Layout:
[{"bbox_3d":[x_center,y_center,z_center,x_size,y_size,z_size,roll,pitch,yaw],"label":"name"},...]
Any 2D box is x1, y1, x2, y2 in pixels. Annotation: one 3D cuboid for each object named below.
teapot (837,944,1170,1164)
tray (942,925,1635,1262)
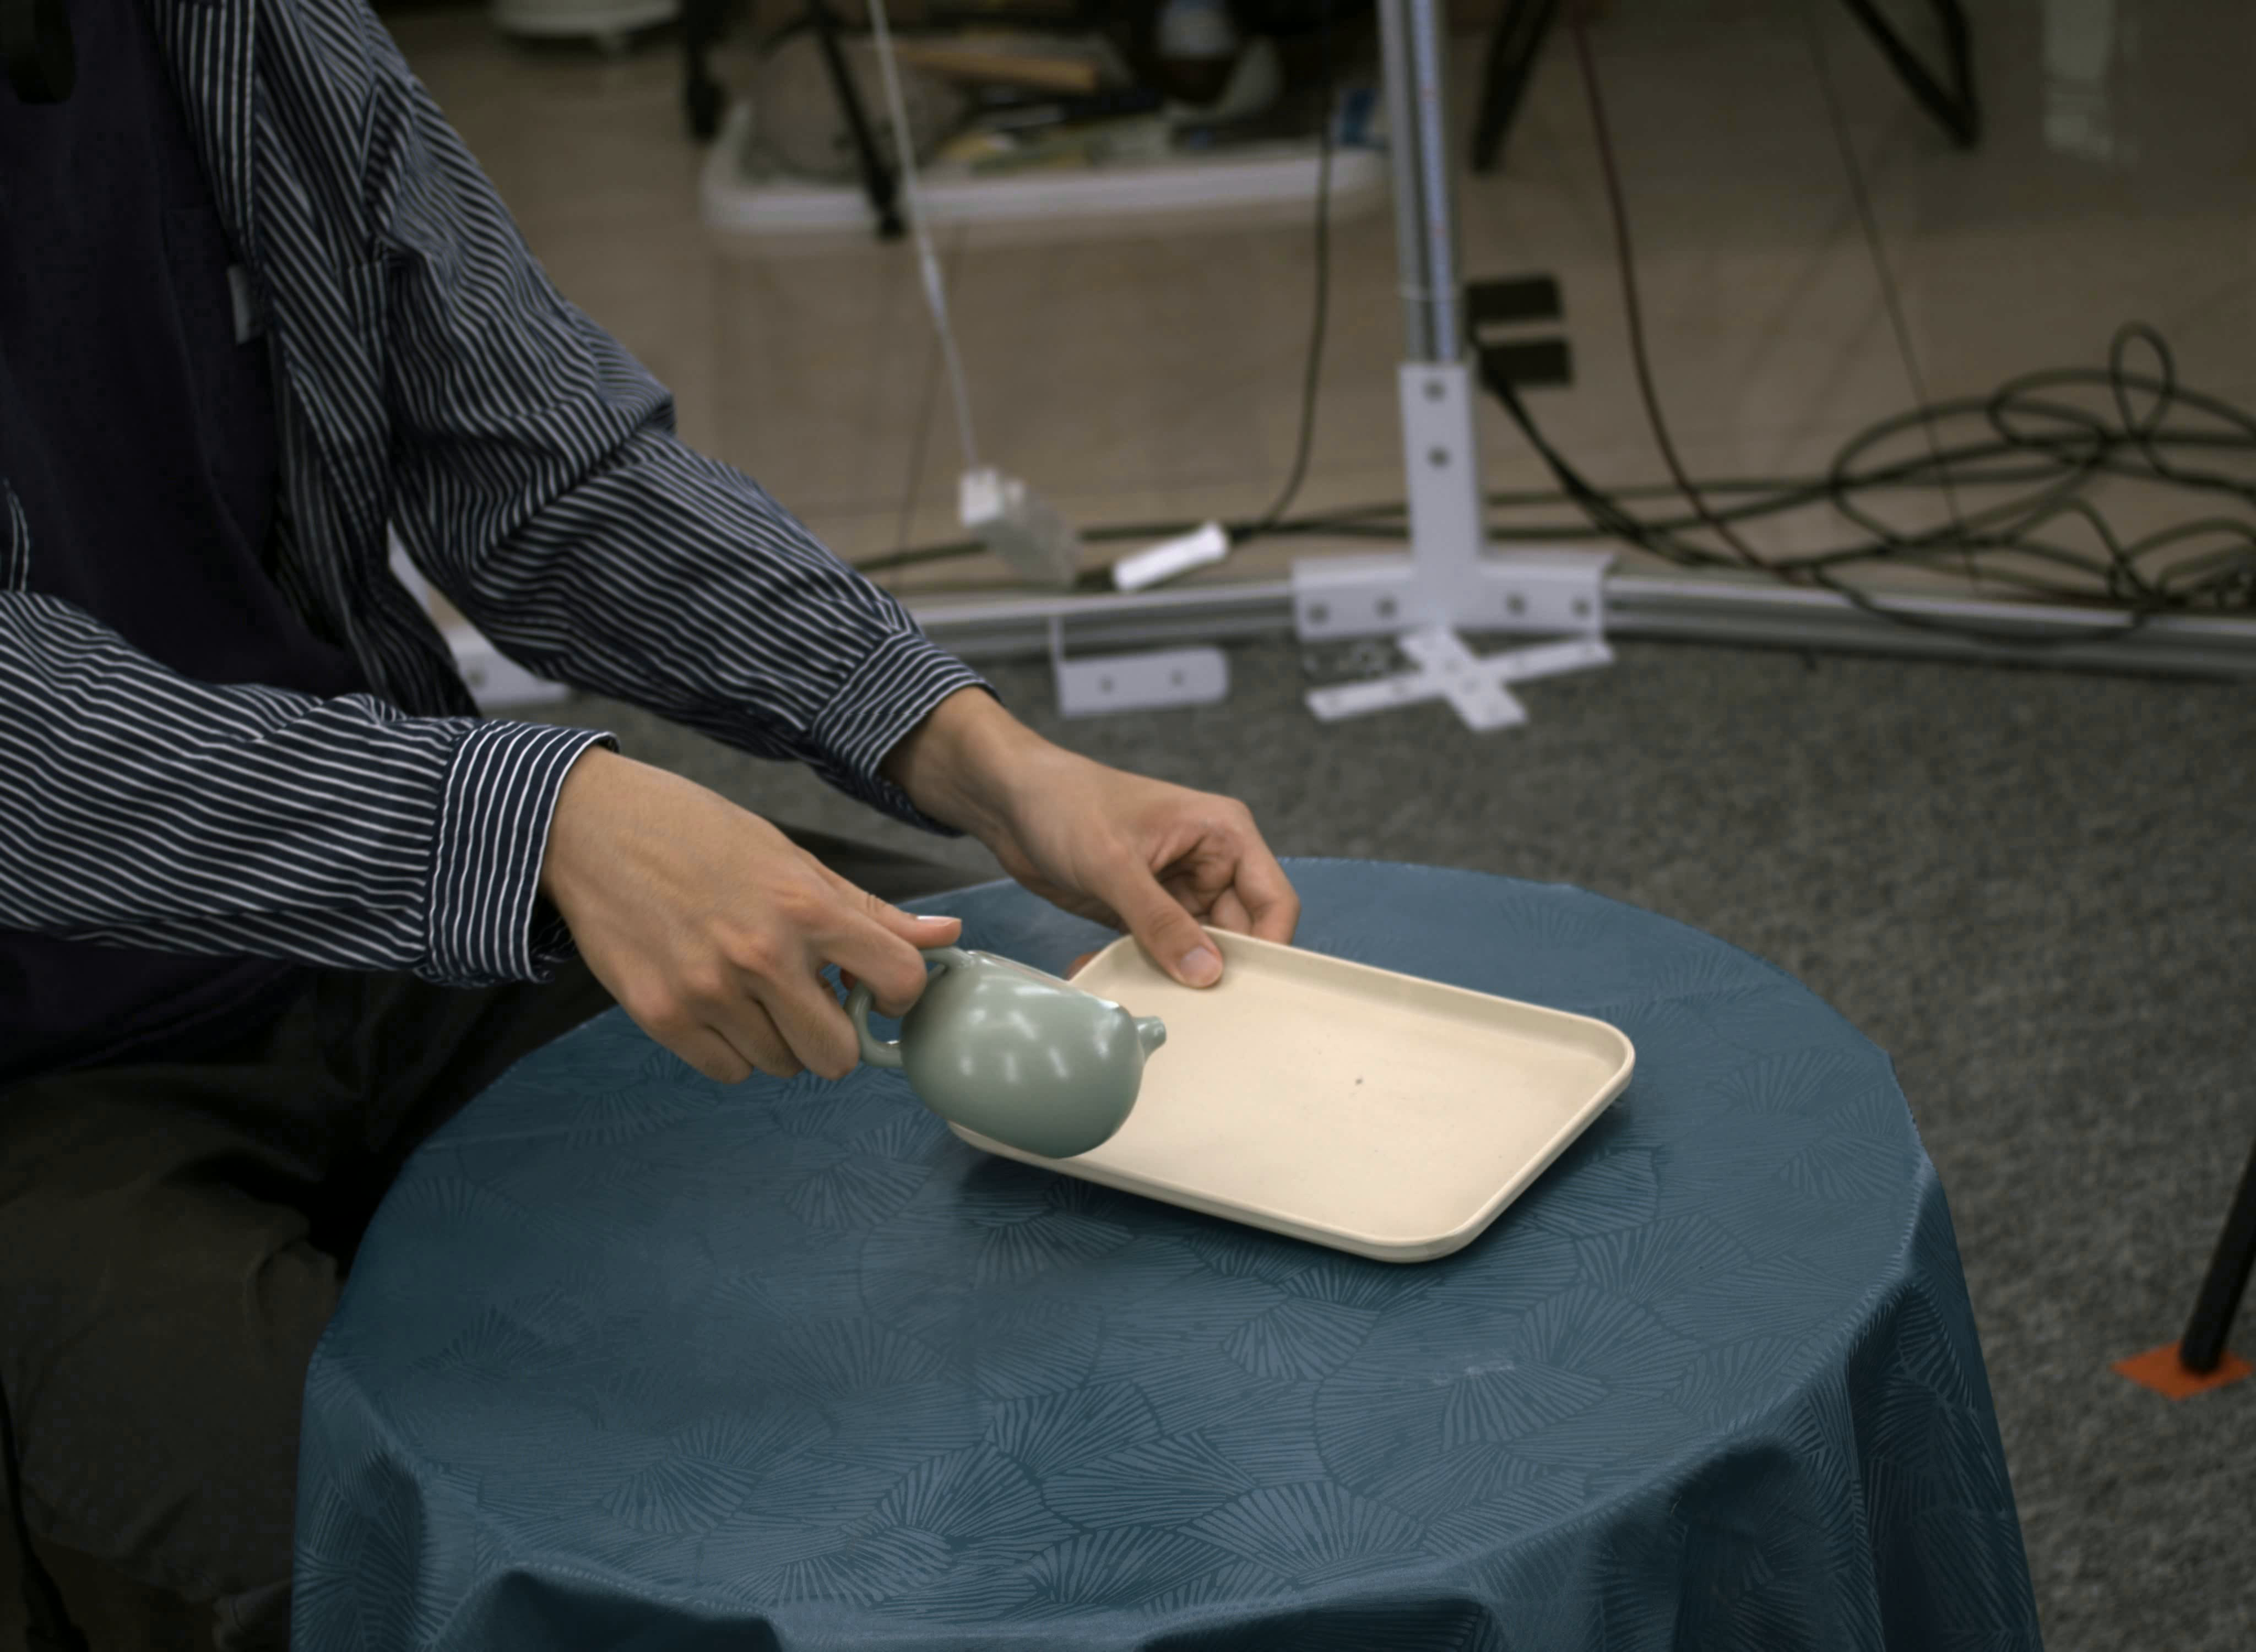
[{"bbox_3d":[-0.048,0.082,2.061,0.129,0.061,0.090,20,5,-26],"label":"teapot"},{"bbox_3d":[0.061,0.102,2.176,0.238,0.018,0.169,13,34,31],"label":"tray"}]
